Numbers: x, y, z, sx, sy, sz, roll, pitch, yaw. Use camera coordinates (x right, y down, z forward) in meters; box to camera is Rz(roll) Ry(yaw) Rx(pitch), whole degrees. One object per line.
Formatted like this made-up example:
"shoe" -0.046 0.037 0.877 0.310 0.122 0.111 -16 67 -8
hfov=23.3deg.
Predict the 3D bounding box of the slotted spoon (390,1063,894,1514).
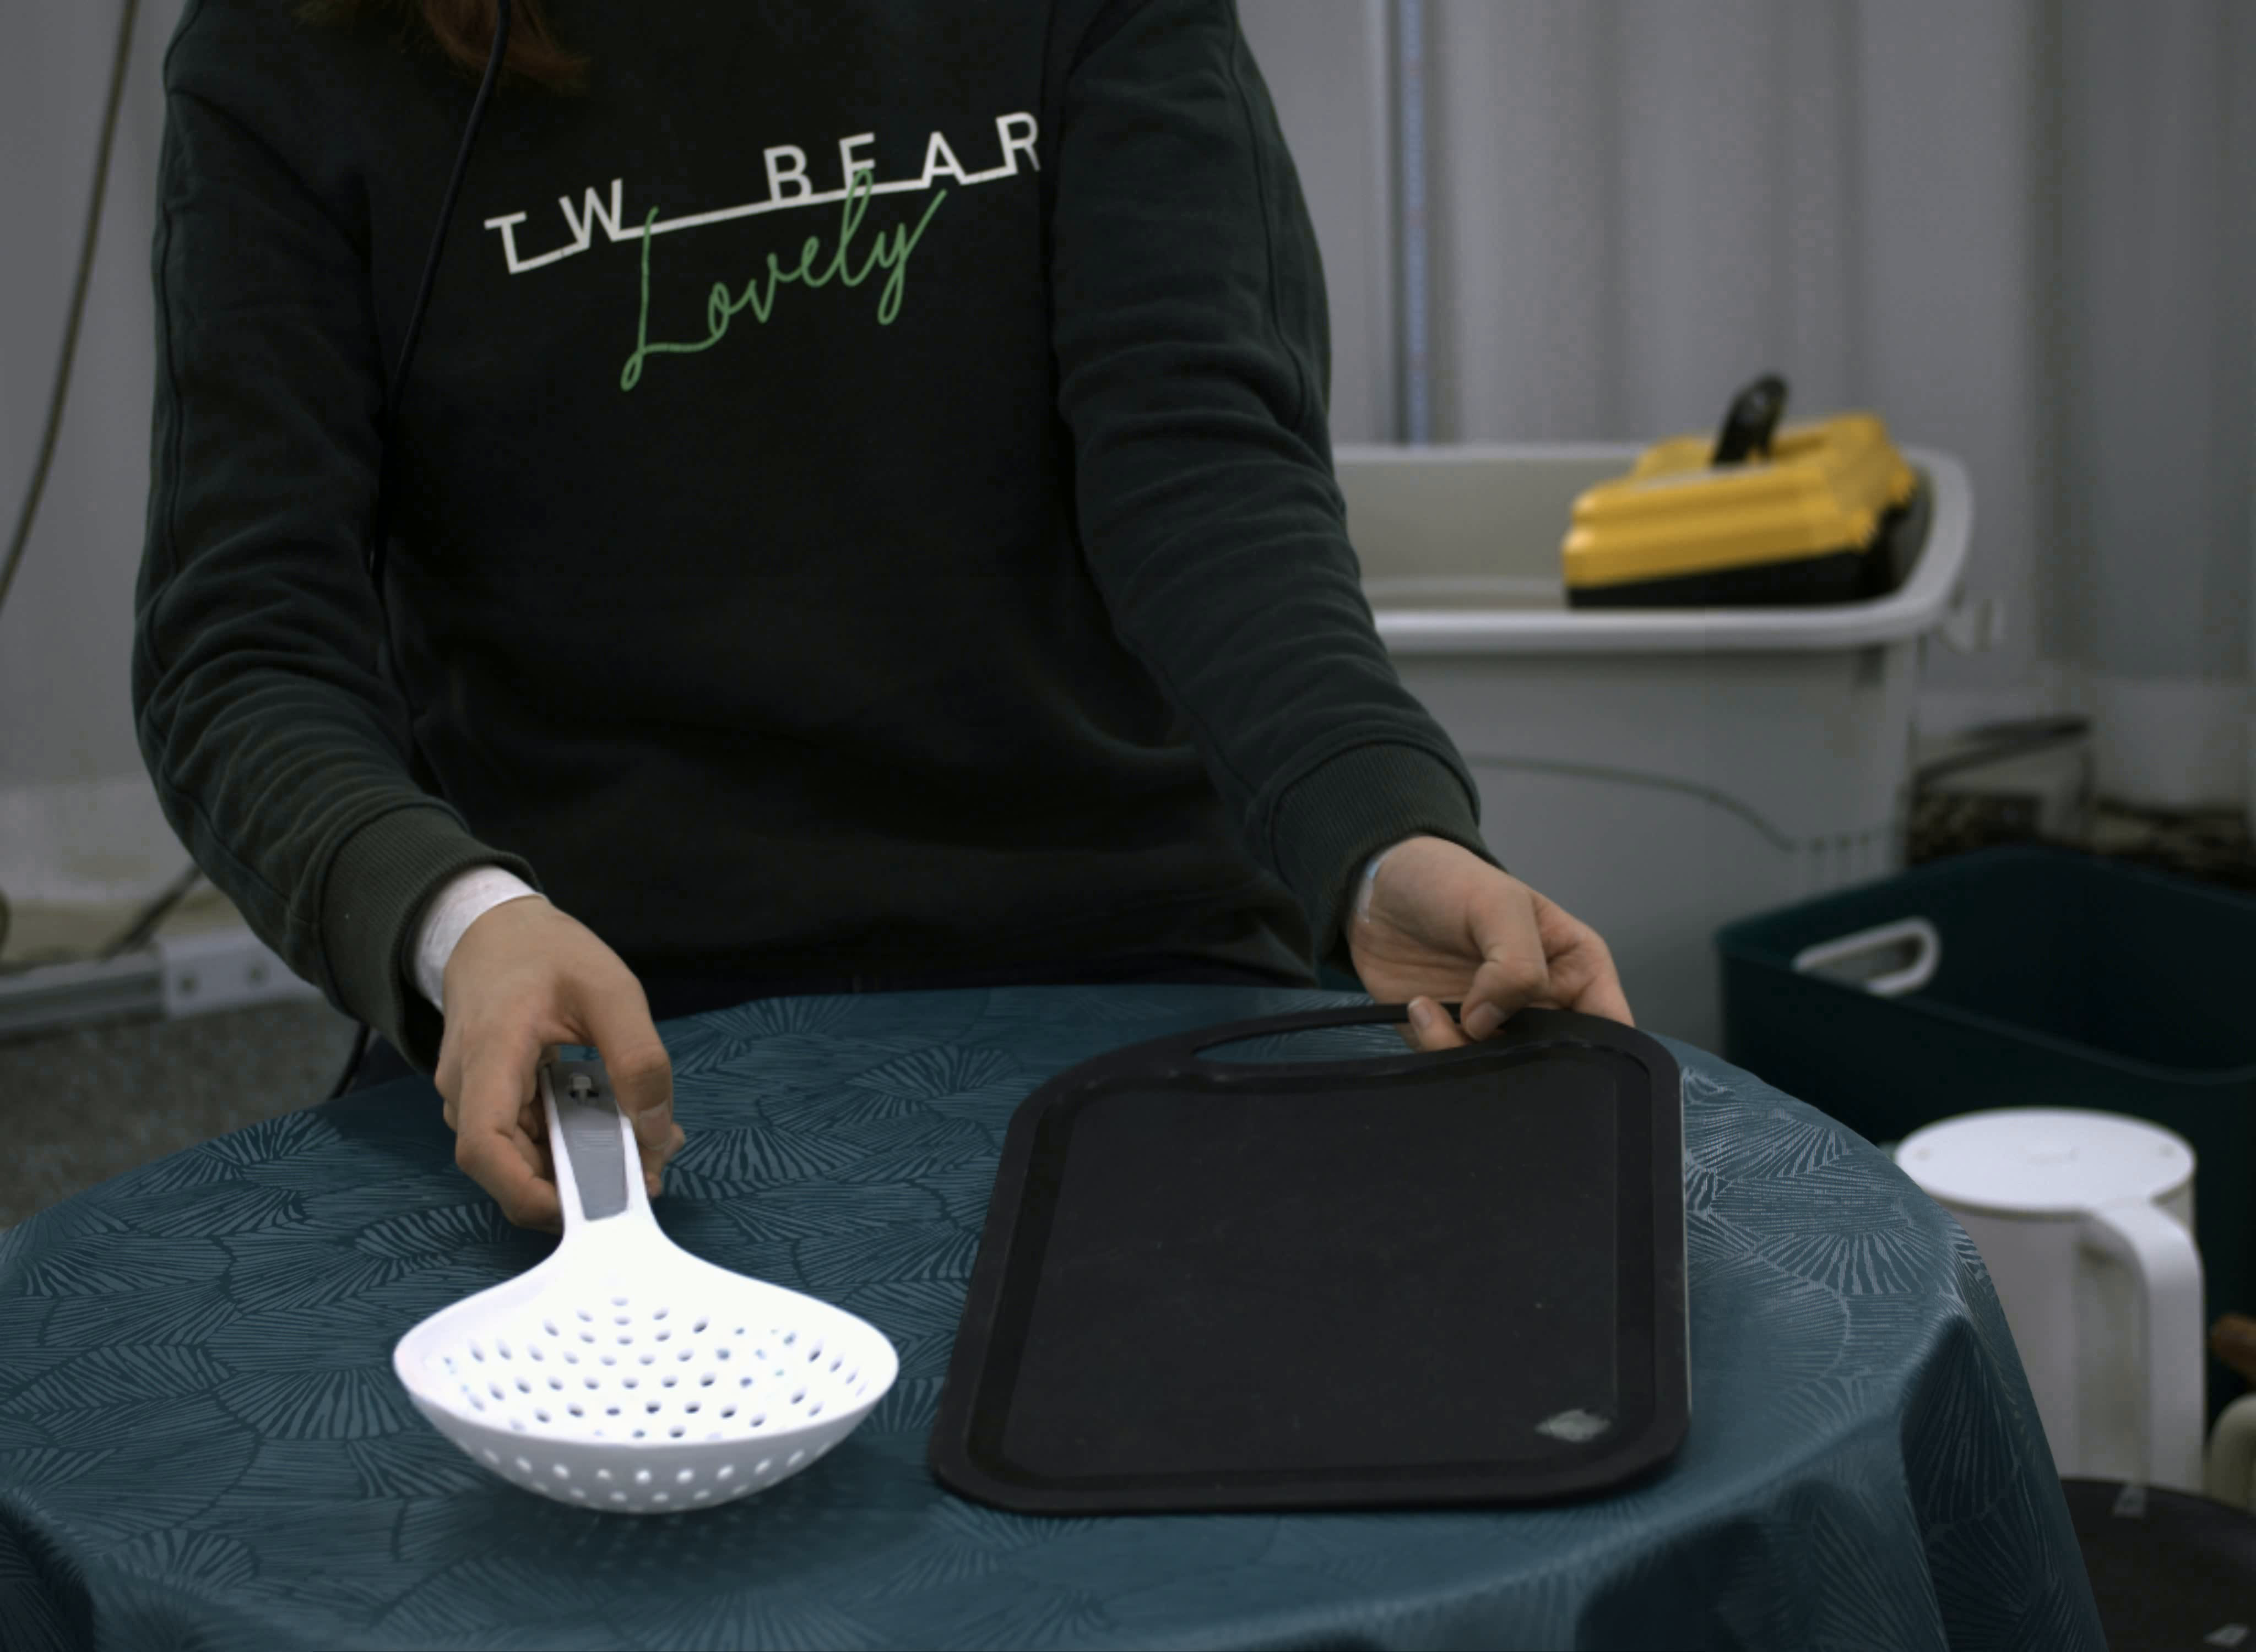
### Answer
"slotted spoon" -0.148 0.125 1.581 0.135 0.045 0.353 1 18 -9

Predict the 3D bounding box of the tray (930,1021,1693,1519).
"tray" 0.059 0.121 1.595 0.210 0.010 0.328 -4 21 7
